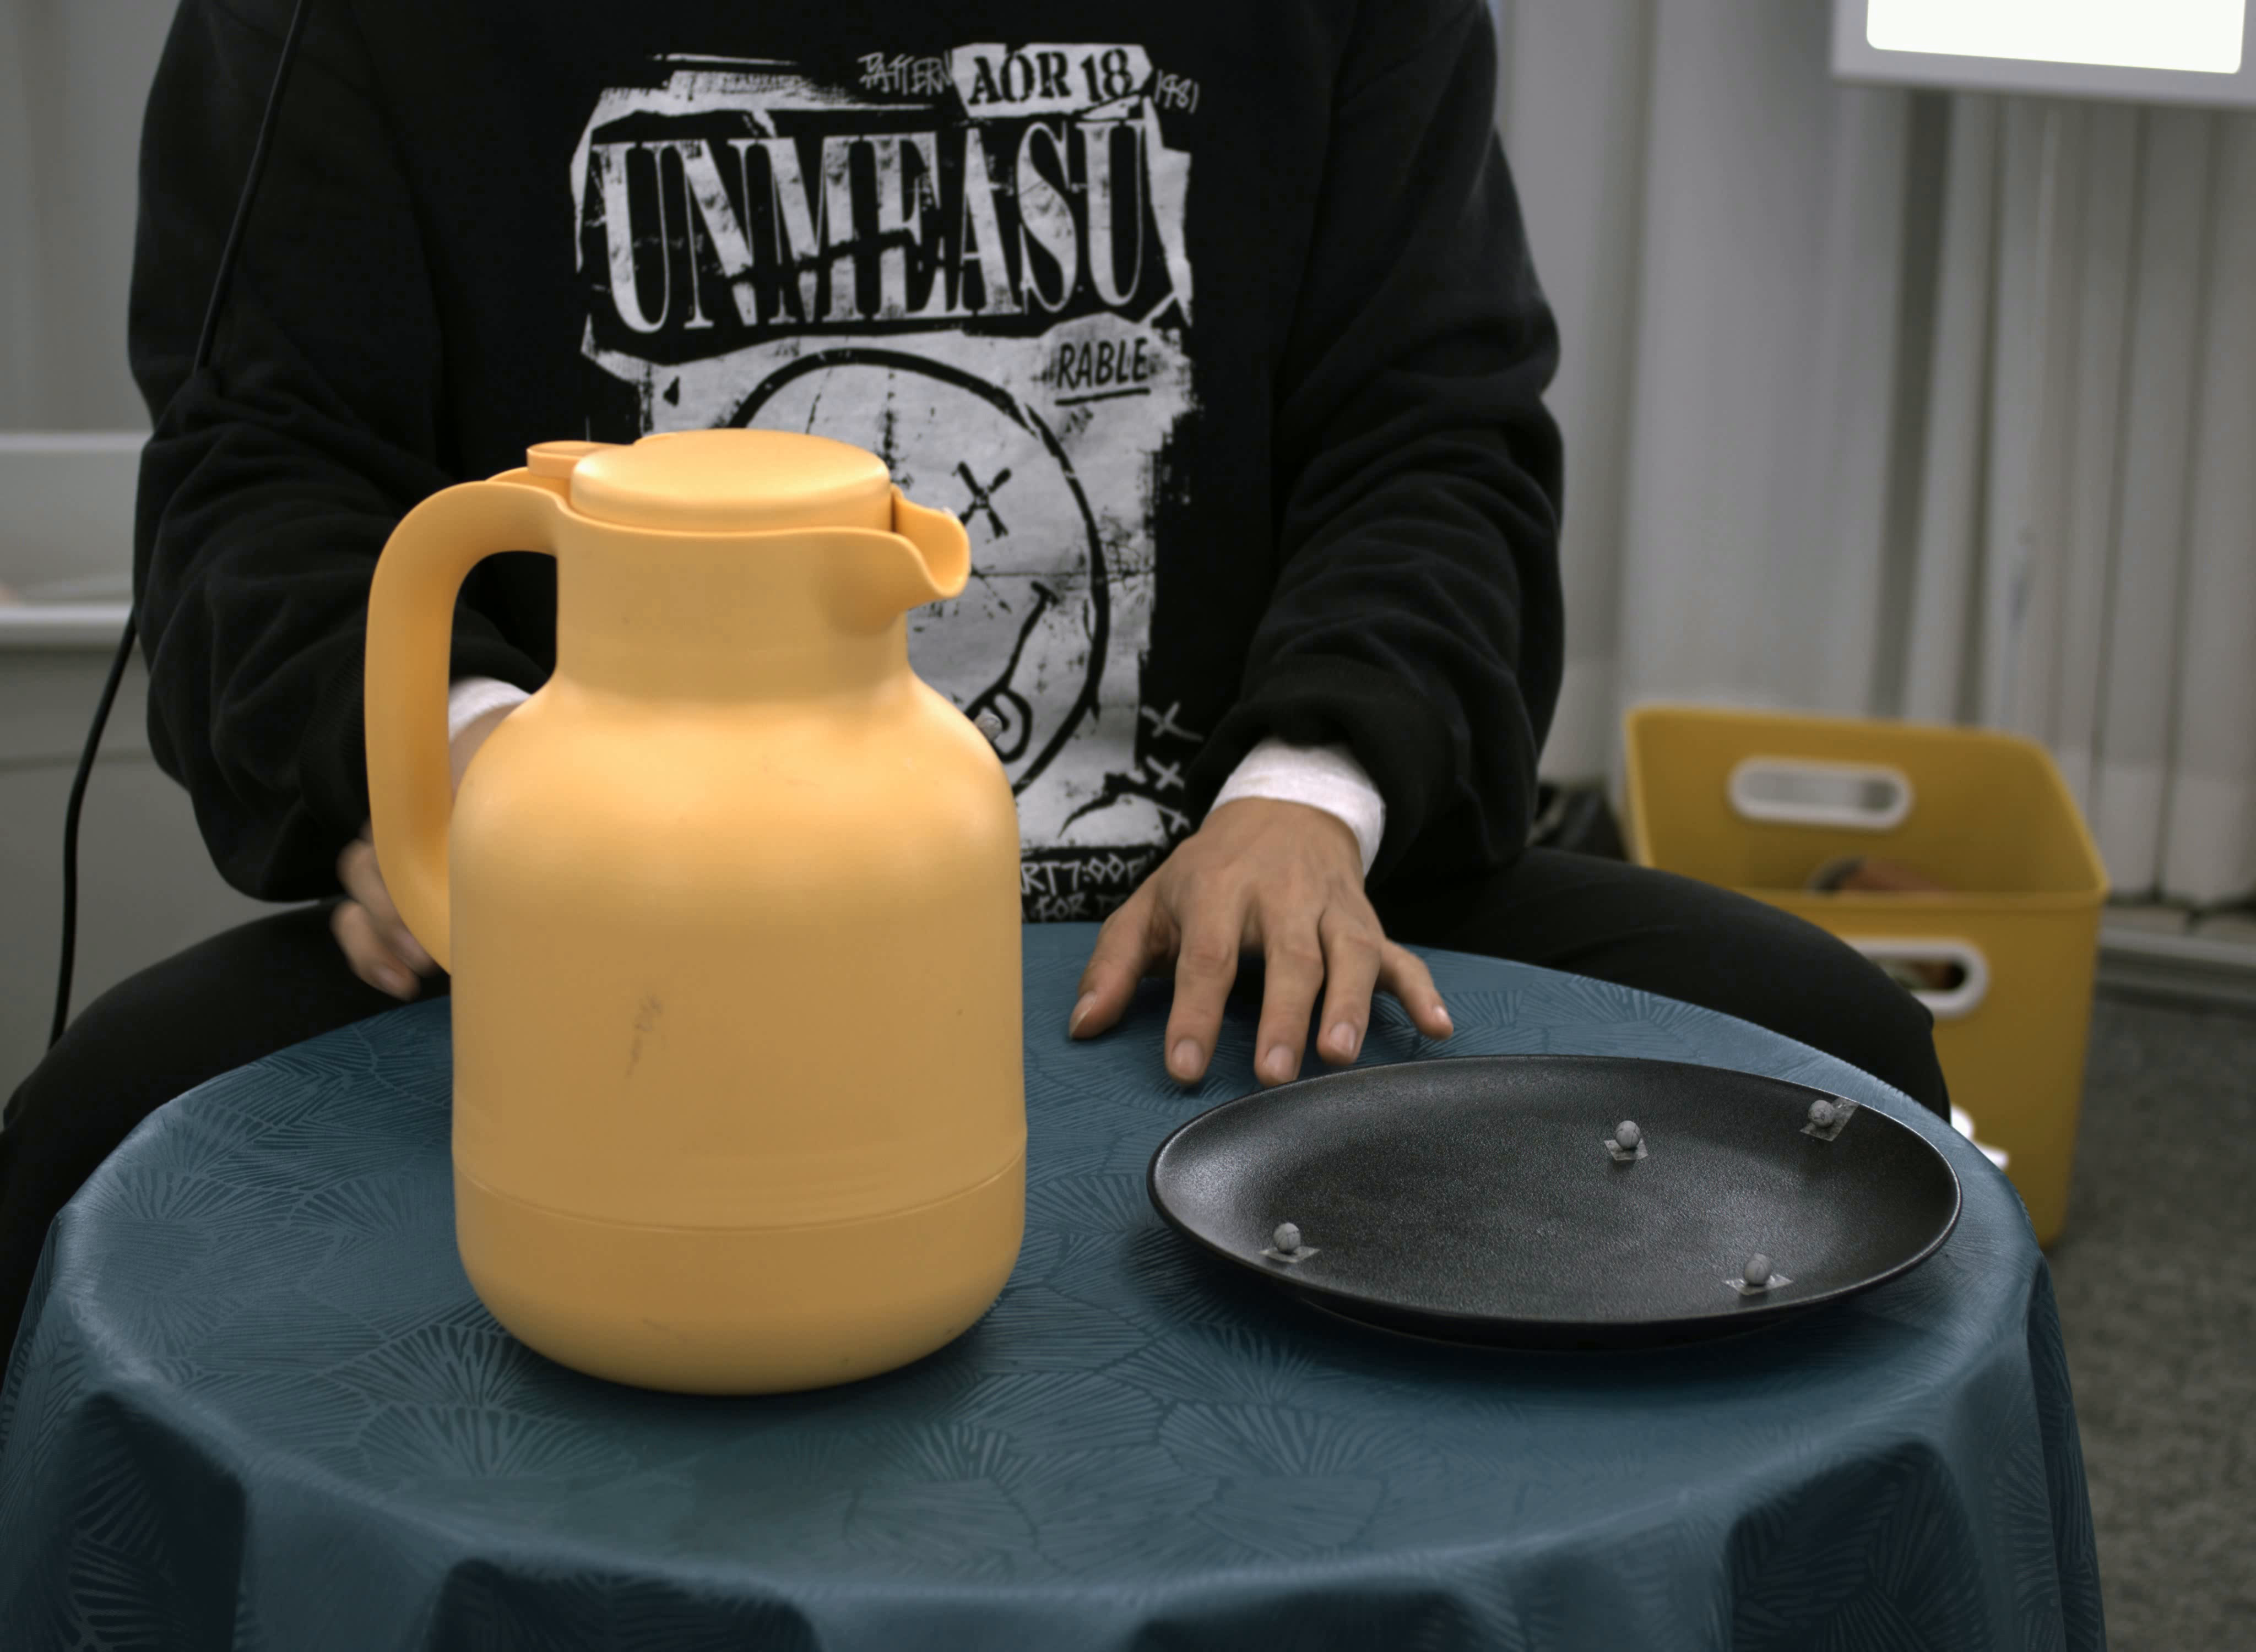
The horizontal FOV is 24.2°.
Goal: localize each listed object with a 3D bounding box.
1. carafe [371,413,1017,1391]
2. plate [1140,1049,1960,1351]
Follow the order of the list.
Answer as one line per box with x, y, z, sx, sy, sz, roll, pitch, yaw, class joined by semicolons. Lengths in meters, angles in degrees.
-0.127;0.013;1.480;0.200;0.262;0.164;13;17;31;carafe
0.126;0.114;1.575;0.243;0.023;0.243;1;16;0;plate
